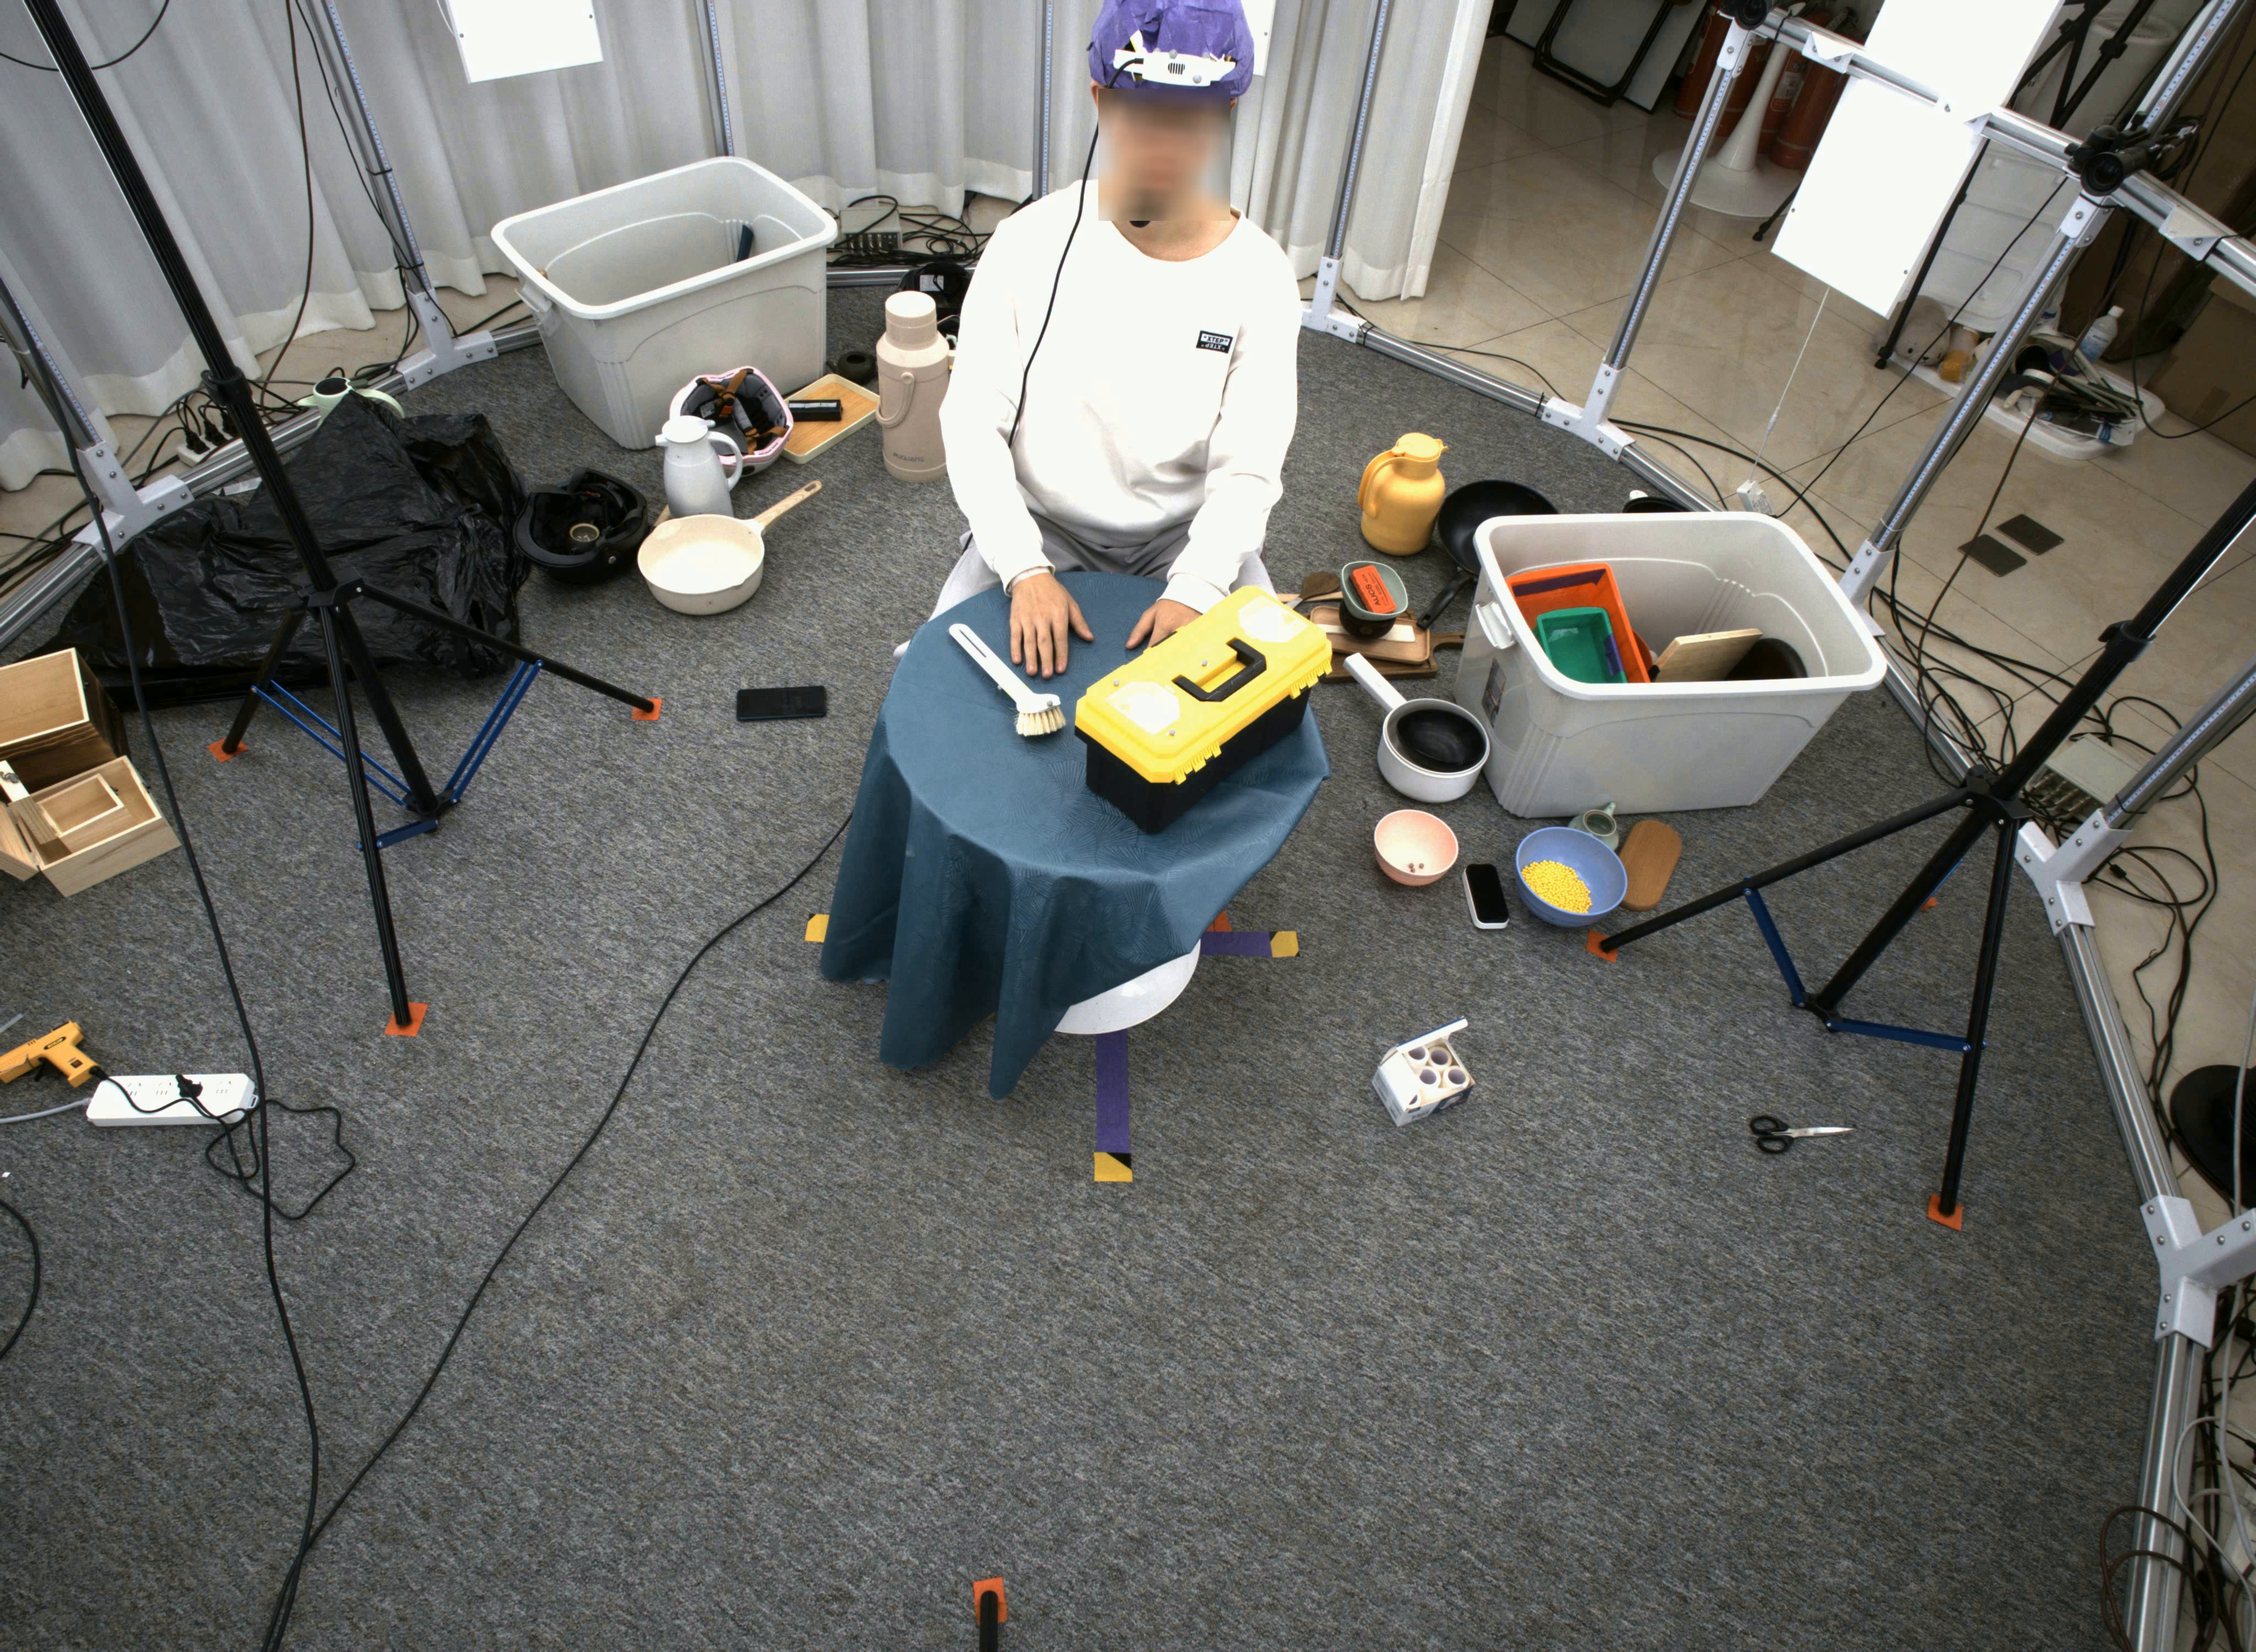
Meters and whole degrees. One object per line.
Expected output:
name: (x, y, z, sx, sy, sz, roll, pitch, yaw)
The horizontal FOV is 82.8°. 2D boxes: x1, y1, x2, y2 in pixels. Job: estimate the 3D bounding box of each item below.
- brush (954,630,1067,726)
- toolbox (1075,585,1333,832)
brush: (-0.174, -0.206, 1.822, 0.068, 0.055, 0.271, -10, 33, -36)
toolbox: (0.098, -0.157, 1.696, 0.184, 0.169, 0.355, 39, 56, 24)
